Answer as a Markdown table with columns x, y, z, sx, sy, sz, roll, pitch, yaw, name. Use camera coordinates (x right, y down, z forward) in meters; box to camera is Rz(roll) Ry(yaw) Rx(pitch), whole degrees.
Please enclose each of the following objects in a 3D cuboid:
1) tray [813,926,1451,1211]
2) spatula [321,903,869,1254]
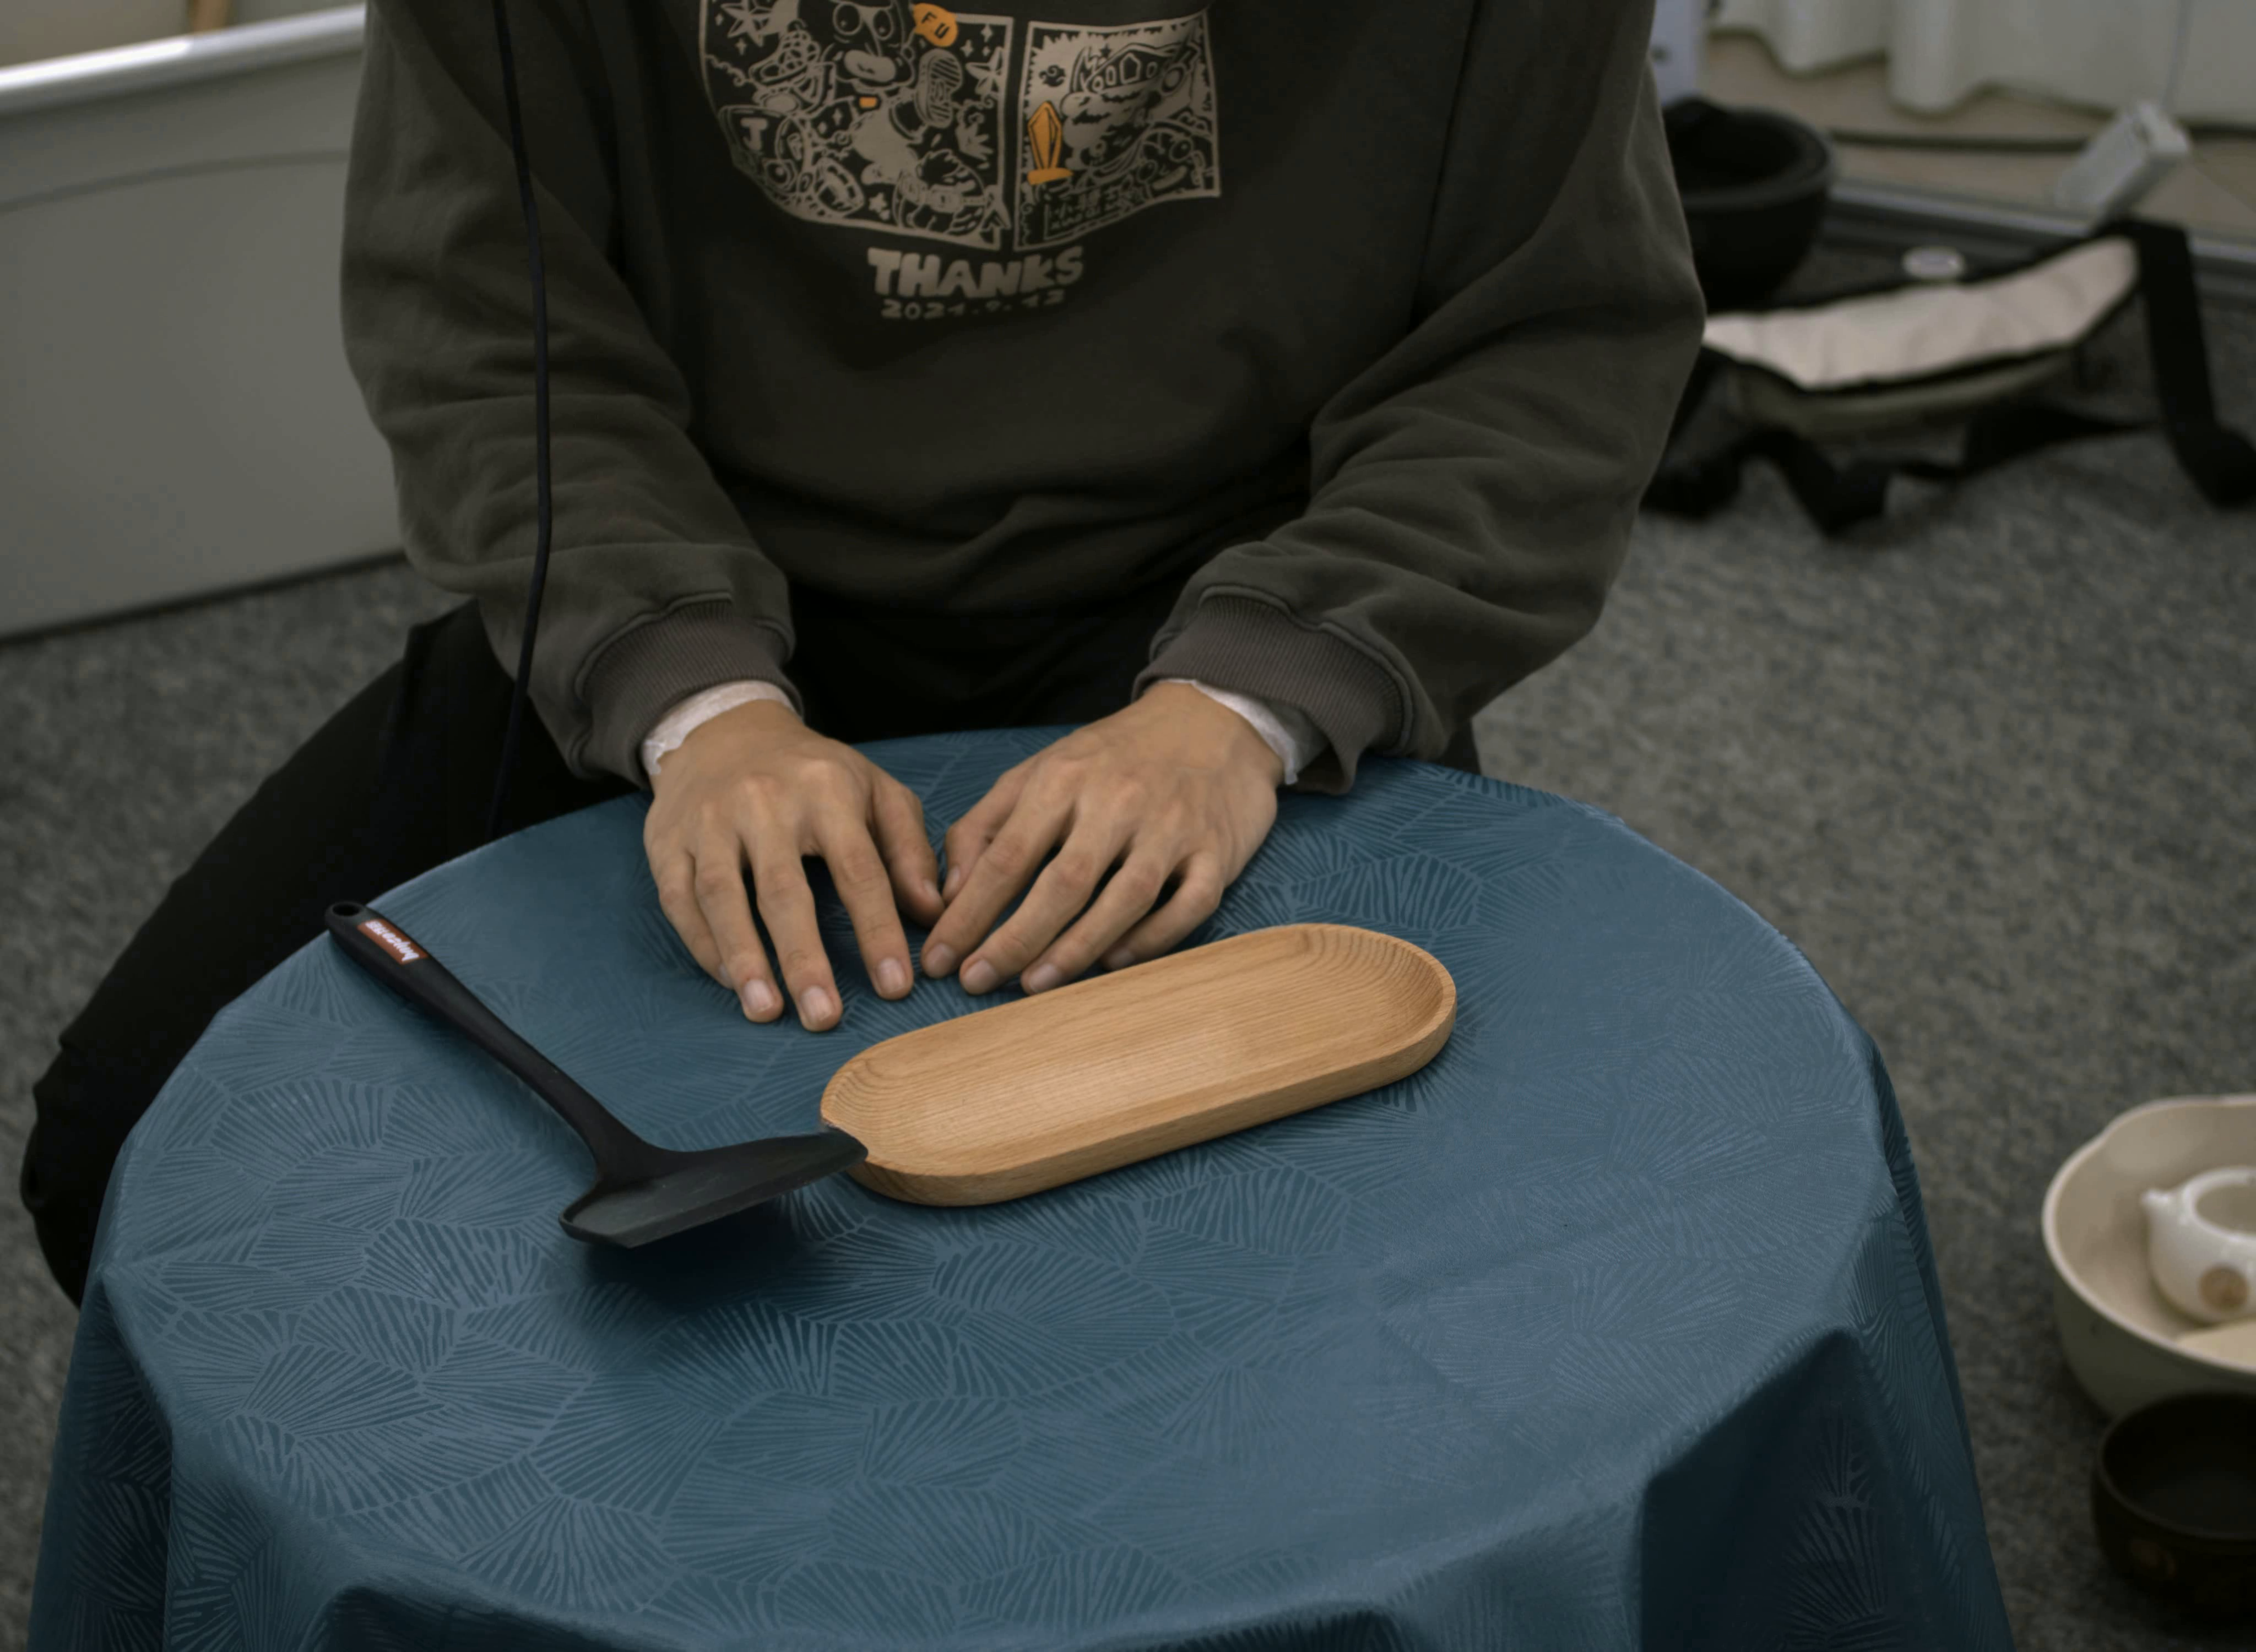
| x | y | z | sx | sy | sz | roll | pitch | yaw | name |
| --- | --- | --- | --- | --- | --- | --- | --- | --- | --- |
| 0.003 | 0.083 | 1.918 | 0.232 | 0.020 | 0.102 | -17 | 30 | -22 | tray |
| -0.205 | 0.079 | 1.924 | 0.100 | 0.040 | 0.327 | -17 | 31 | -28 | spatula |
